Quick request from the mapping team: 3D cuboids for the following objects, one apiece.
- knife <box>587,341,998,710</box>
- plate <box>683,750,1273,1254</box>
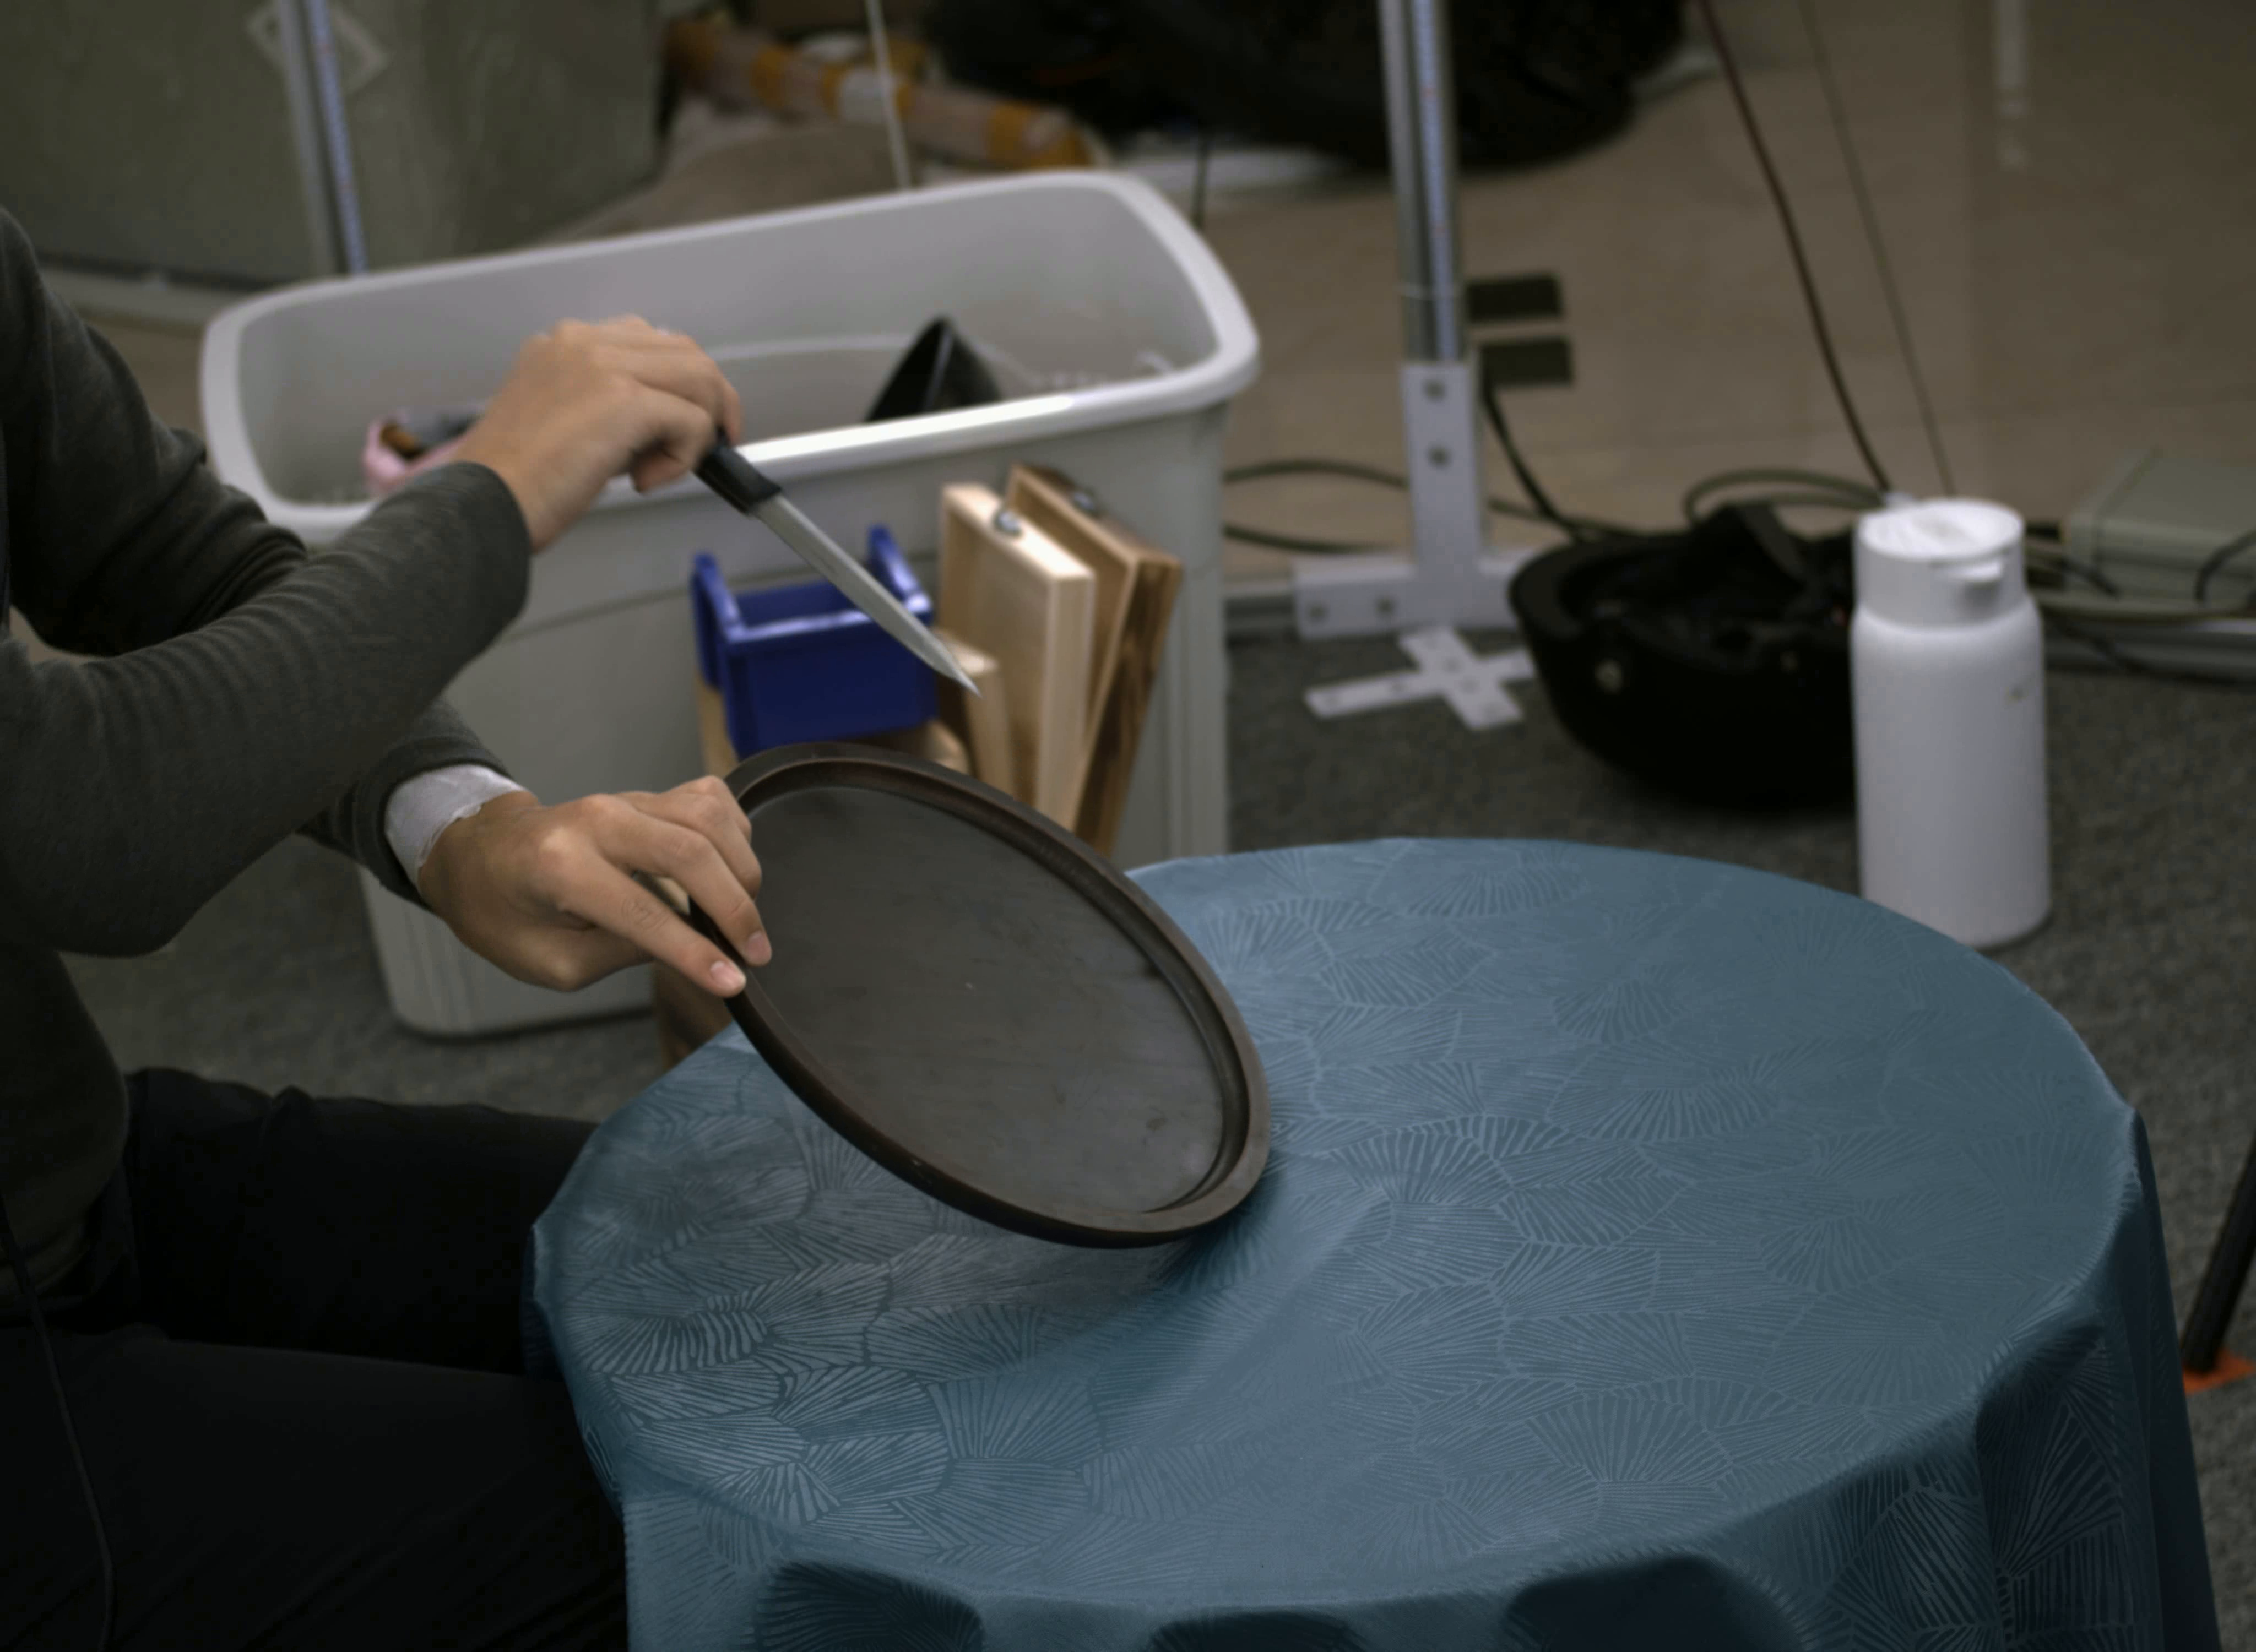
[{"bbox_3d":[-0.134,-0.118,2.233,0.236,0.016,0.024,42,33,21],"label":"knife"},{"bbox_3d":[-0.057,0.066,2.133,0.256,0.029,0.250,27,31,-18],"label":"plate"}]
